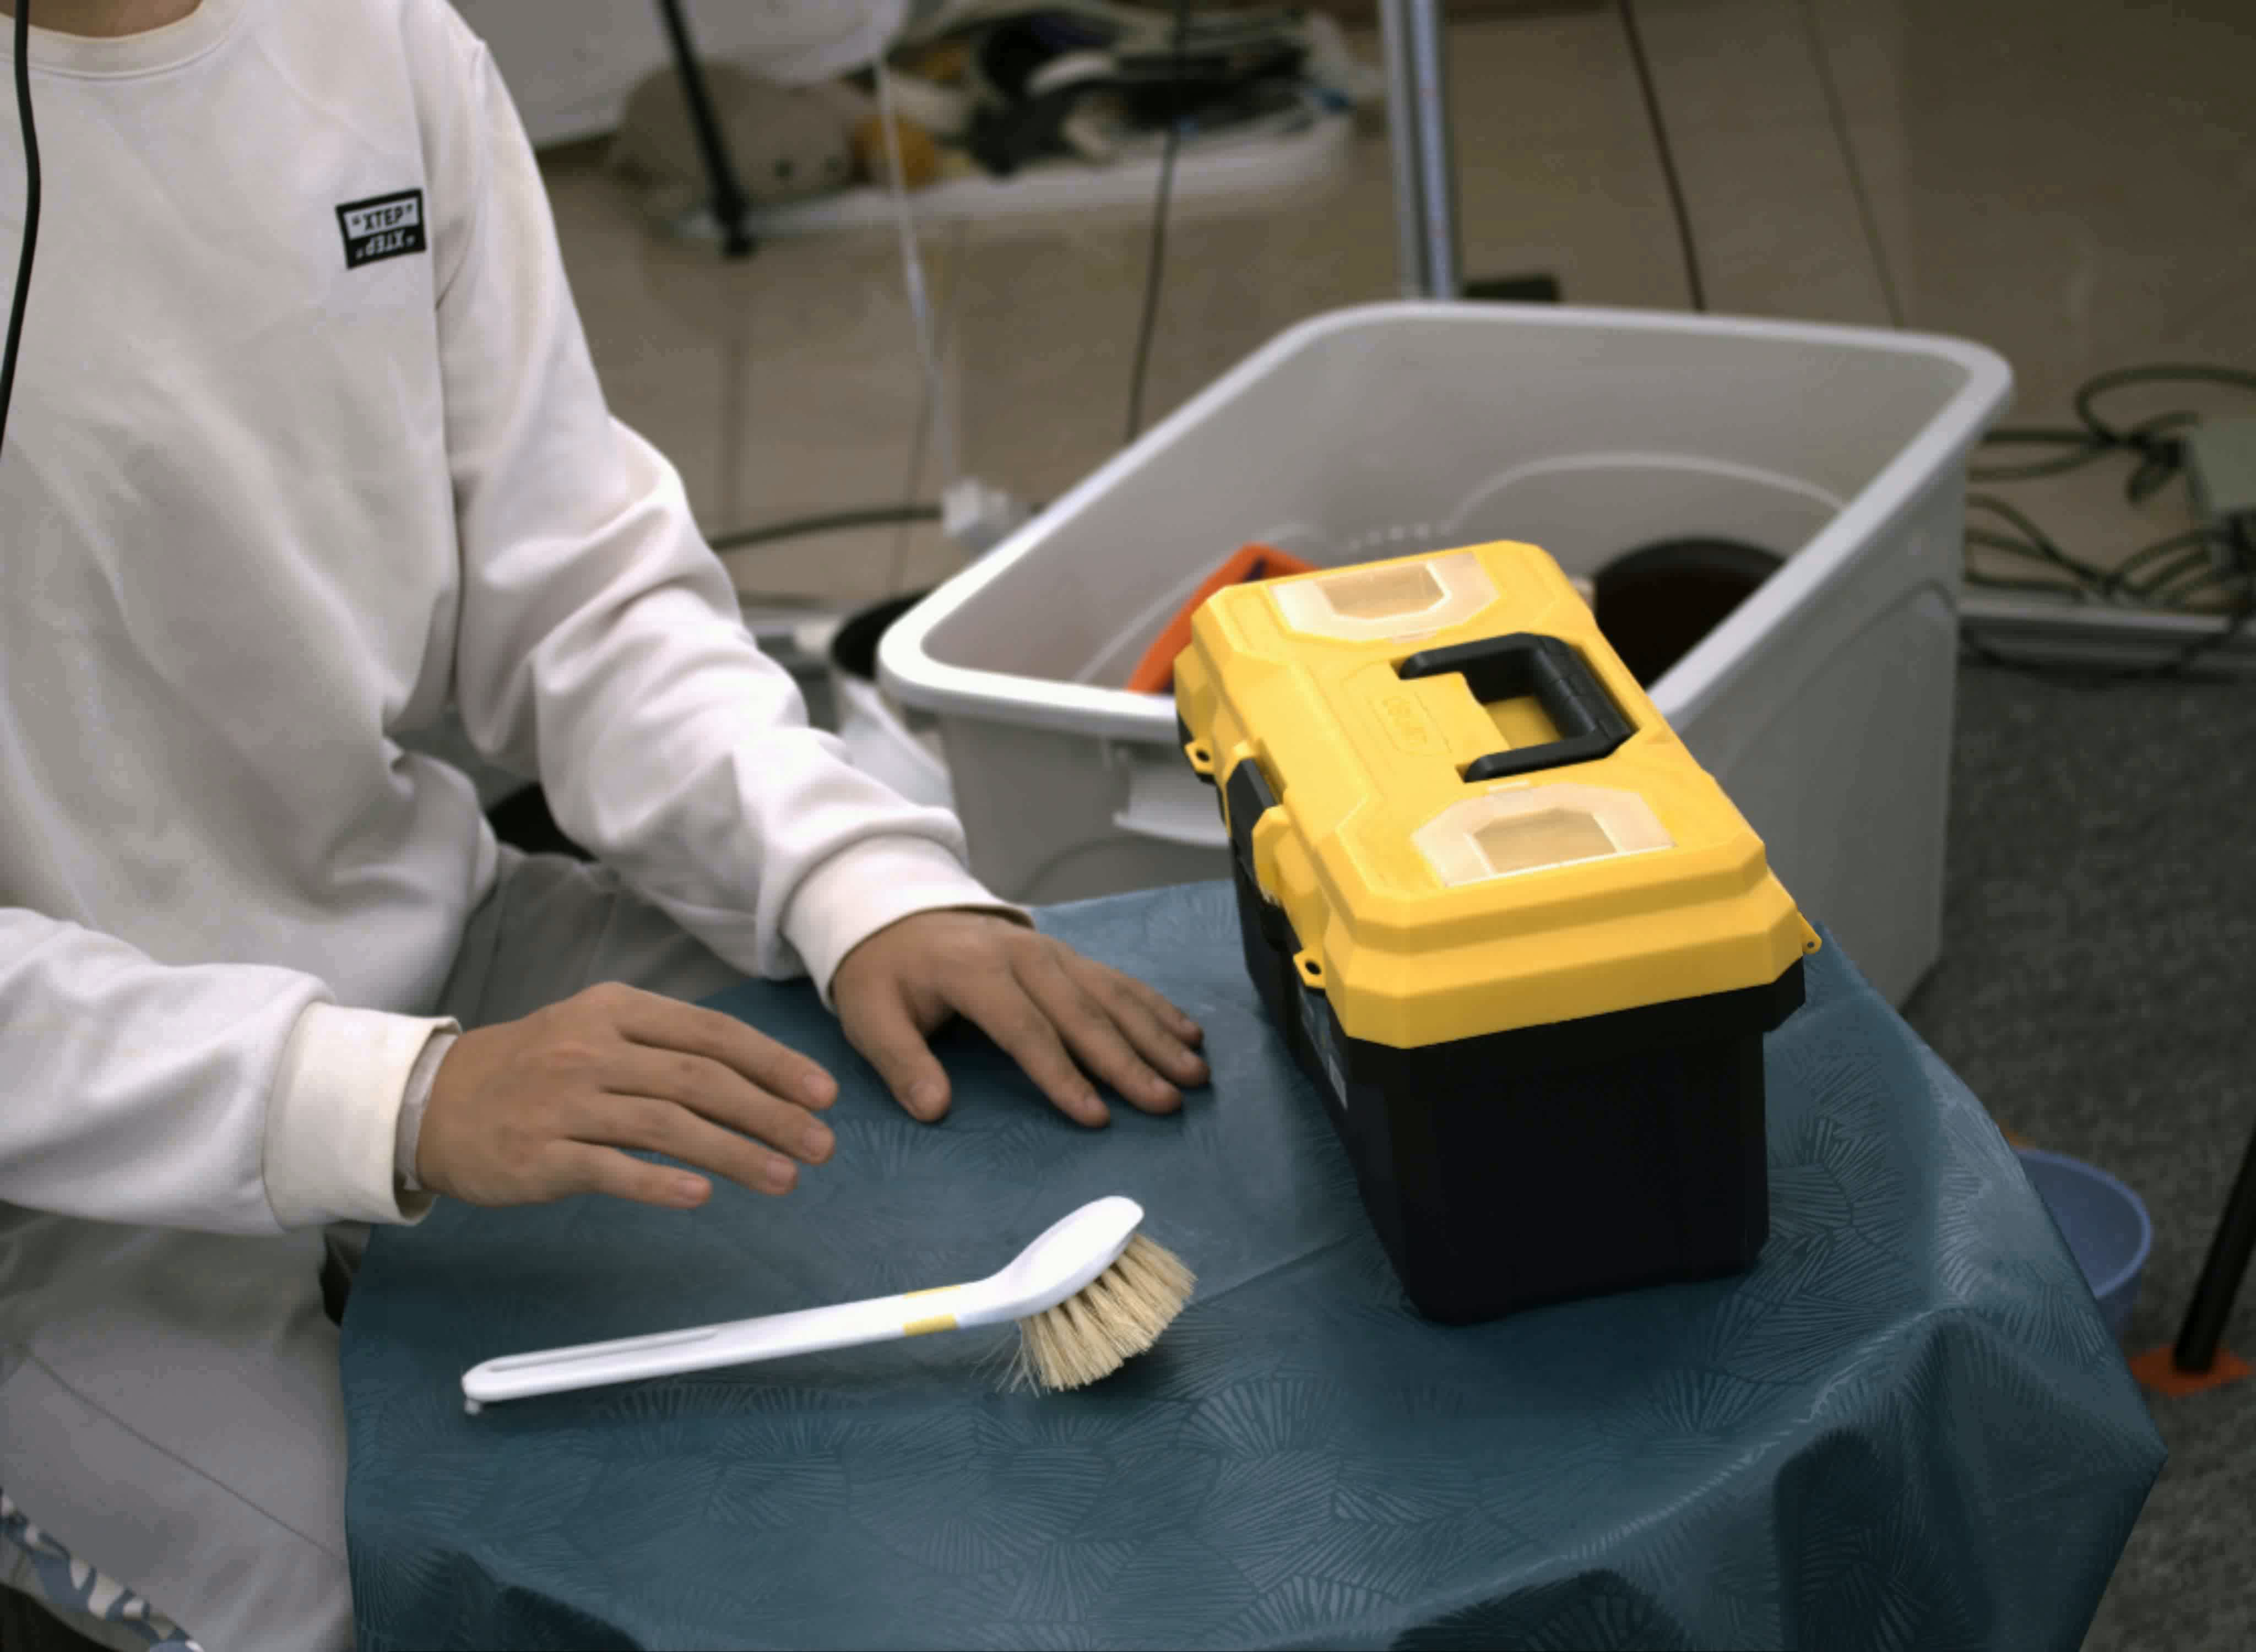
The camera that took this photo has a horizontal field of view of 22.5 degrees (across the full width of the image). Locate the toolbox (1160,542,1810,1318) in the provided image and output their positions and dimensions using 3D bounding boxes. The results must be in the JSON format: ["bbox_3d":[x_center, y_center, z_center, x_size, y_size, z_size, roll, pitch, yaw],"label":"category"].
[{"bbox_3d":[0.130,0.033,2.134,0.181,0.175,0.346,-9,24,-7],"label":"toolbox"}]

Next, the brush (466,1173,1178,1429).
[{"bbox_3d":[-0.107,0.193,2.043,0.266,0.056,0.068,-20,2,8],"label":"brush"}]
